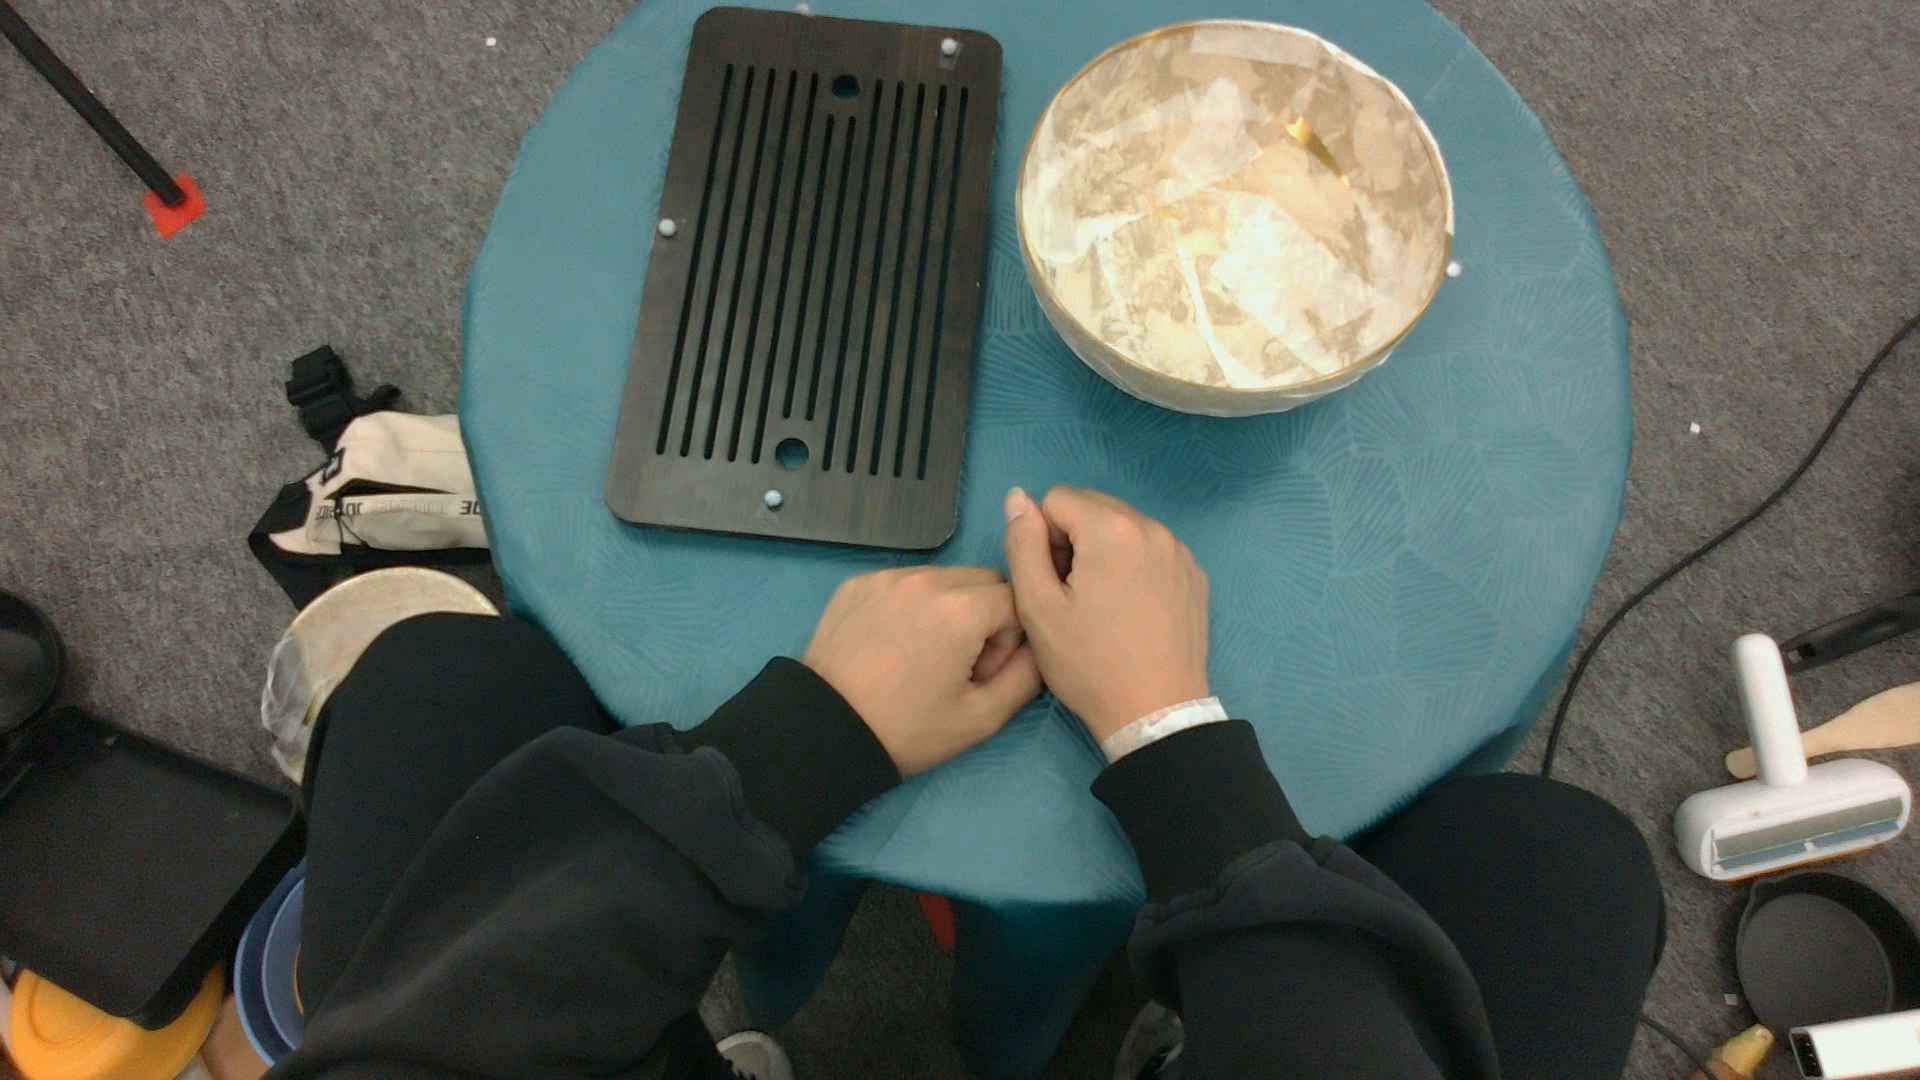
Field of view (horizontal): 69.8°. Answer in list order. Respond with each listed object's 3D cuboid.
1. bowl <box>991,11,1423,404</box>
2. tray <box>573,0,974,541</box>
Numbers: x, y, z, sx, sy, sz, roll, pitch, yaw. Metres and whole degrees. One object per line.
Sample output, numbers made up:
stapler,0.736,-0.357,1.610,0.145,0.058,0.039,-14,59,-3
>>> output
bowl,0.110,-0.148,0.679,0.215,0.094,0.215,1,70,-3
tray,-0.089,-0.147,0.711,0.170,0.018,0.307,5,70,0
